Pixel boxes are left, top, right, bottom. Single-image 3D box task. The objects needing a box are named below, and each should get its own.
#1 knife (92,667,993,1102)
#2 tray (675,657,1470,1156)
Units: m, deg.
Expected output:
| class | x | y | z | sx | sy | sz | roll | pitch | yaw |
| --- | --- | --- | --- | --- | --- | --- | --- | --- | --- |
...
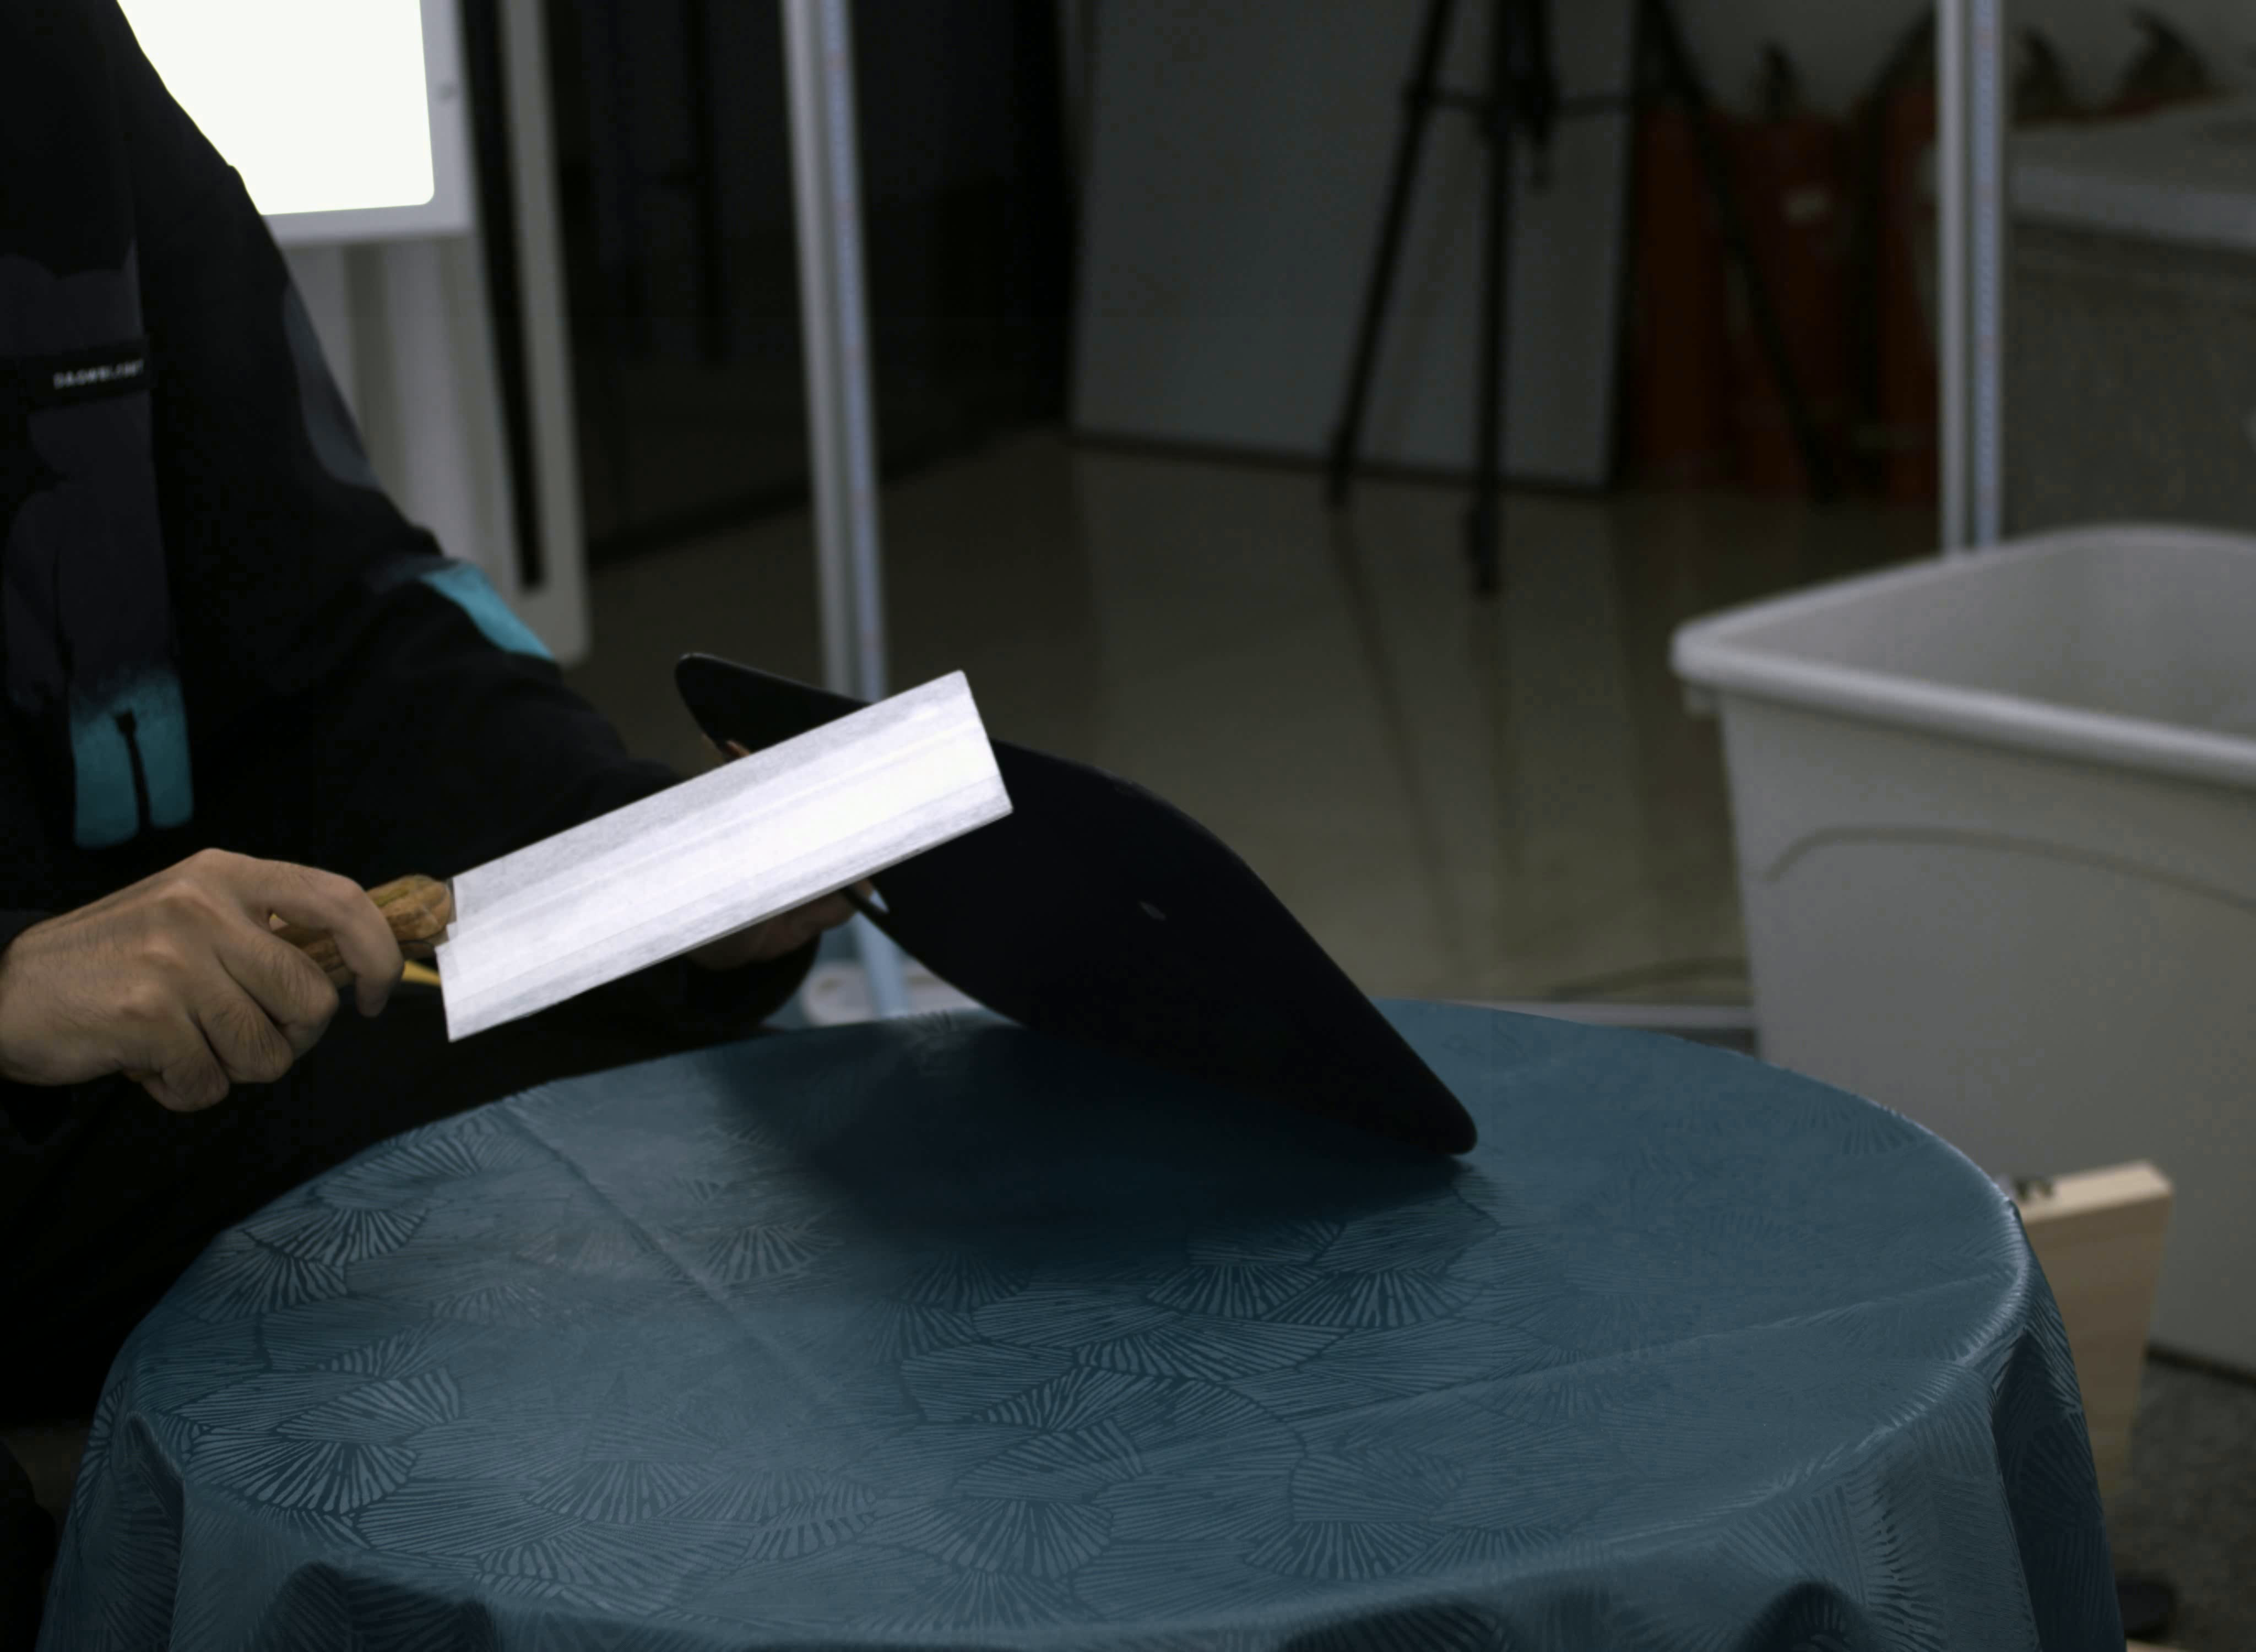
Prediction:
| class | x | y | z | sx | sy | sz | roll | pitch | yaw |
| --- | --- | --- | --- | --- | --- | --- | --- | --- | --- |
| knife | -0.184 | 0.029 | 1.701 | 0.303 | 0.021 | 0.094 | -23 | 33 | 3 |
| tray | -0.028 | 0.023 | 1.826 | 0.329 | 0.209 | 0.010 | 15 | 62 | 52 |
